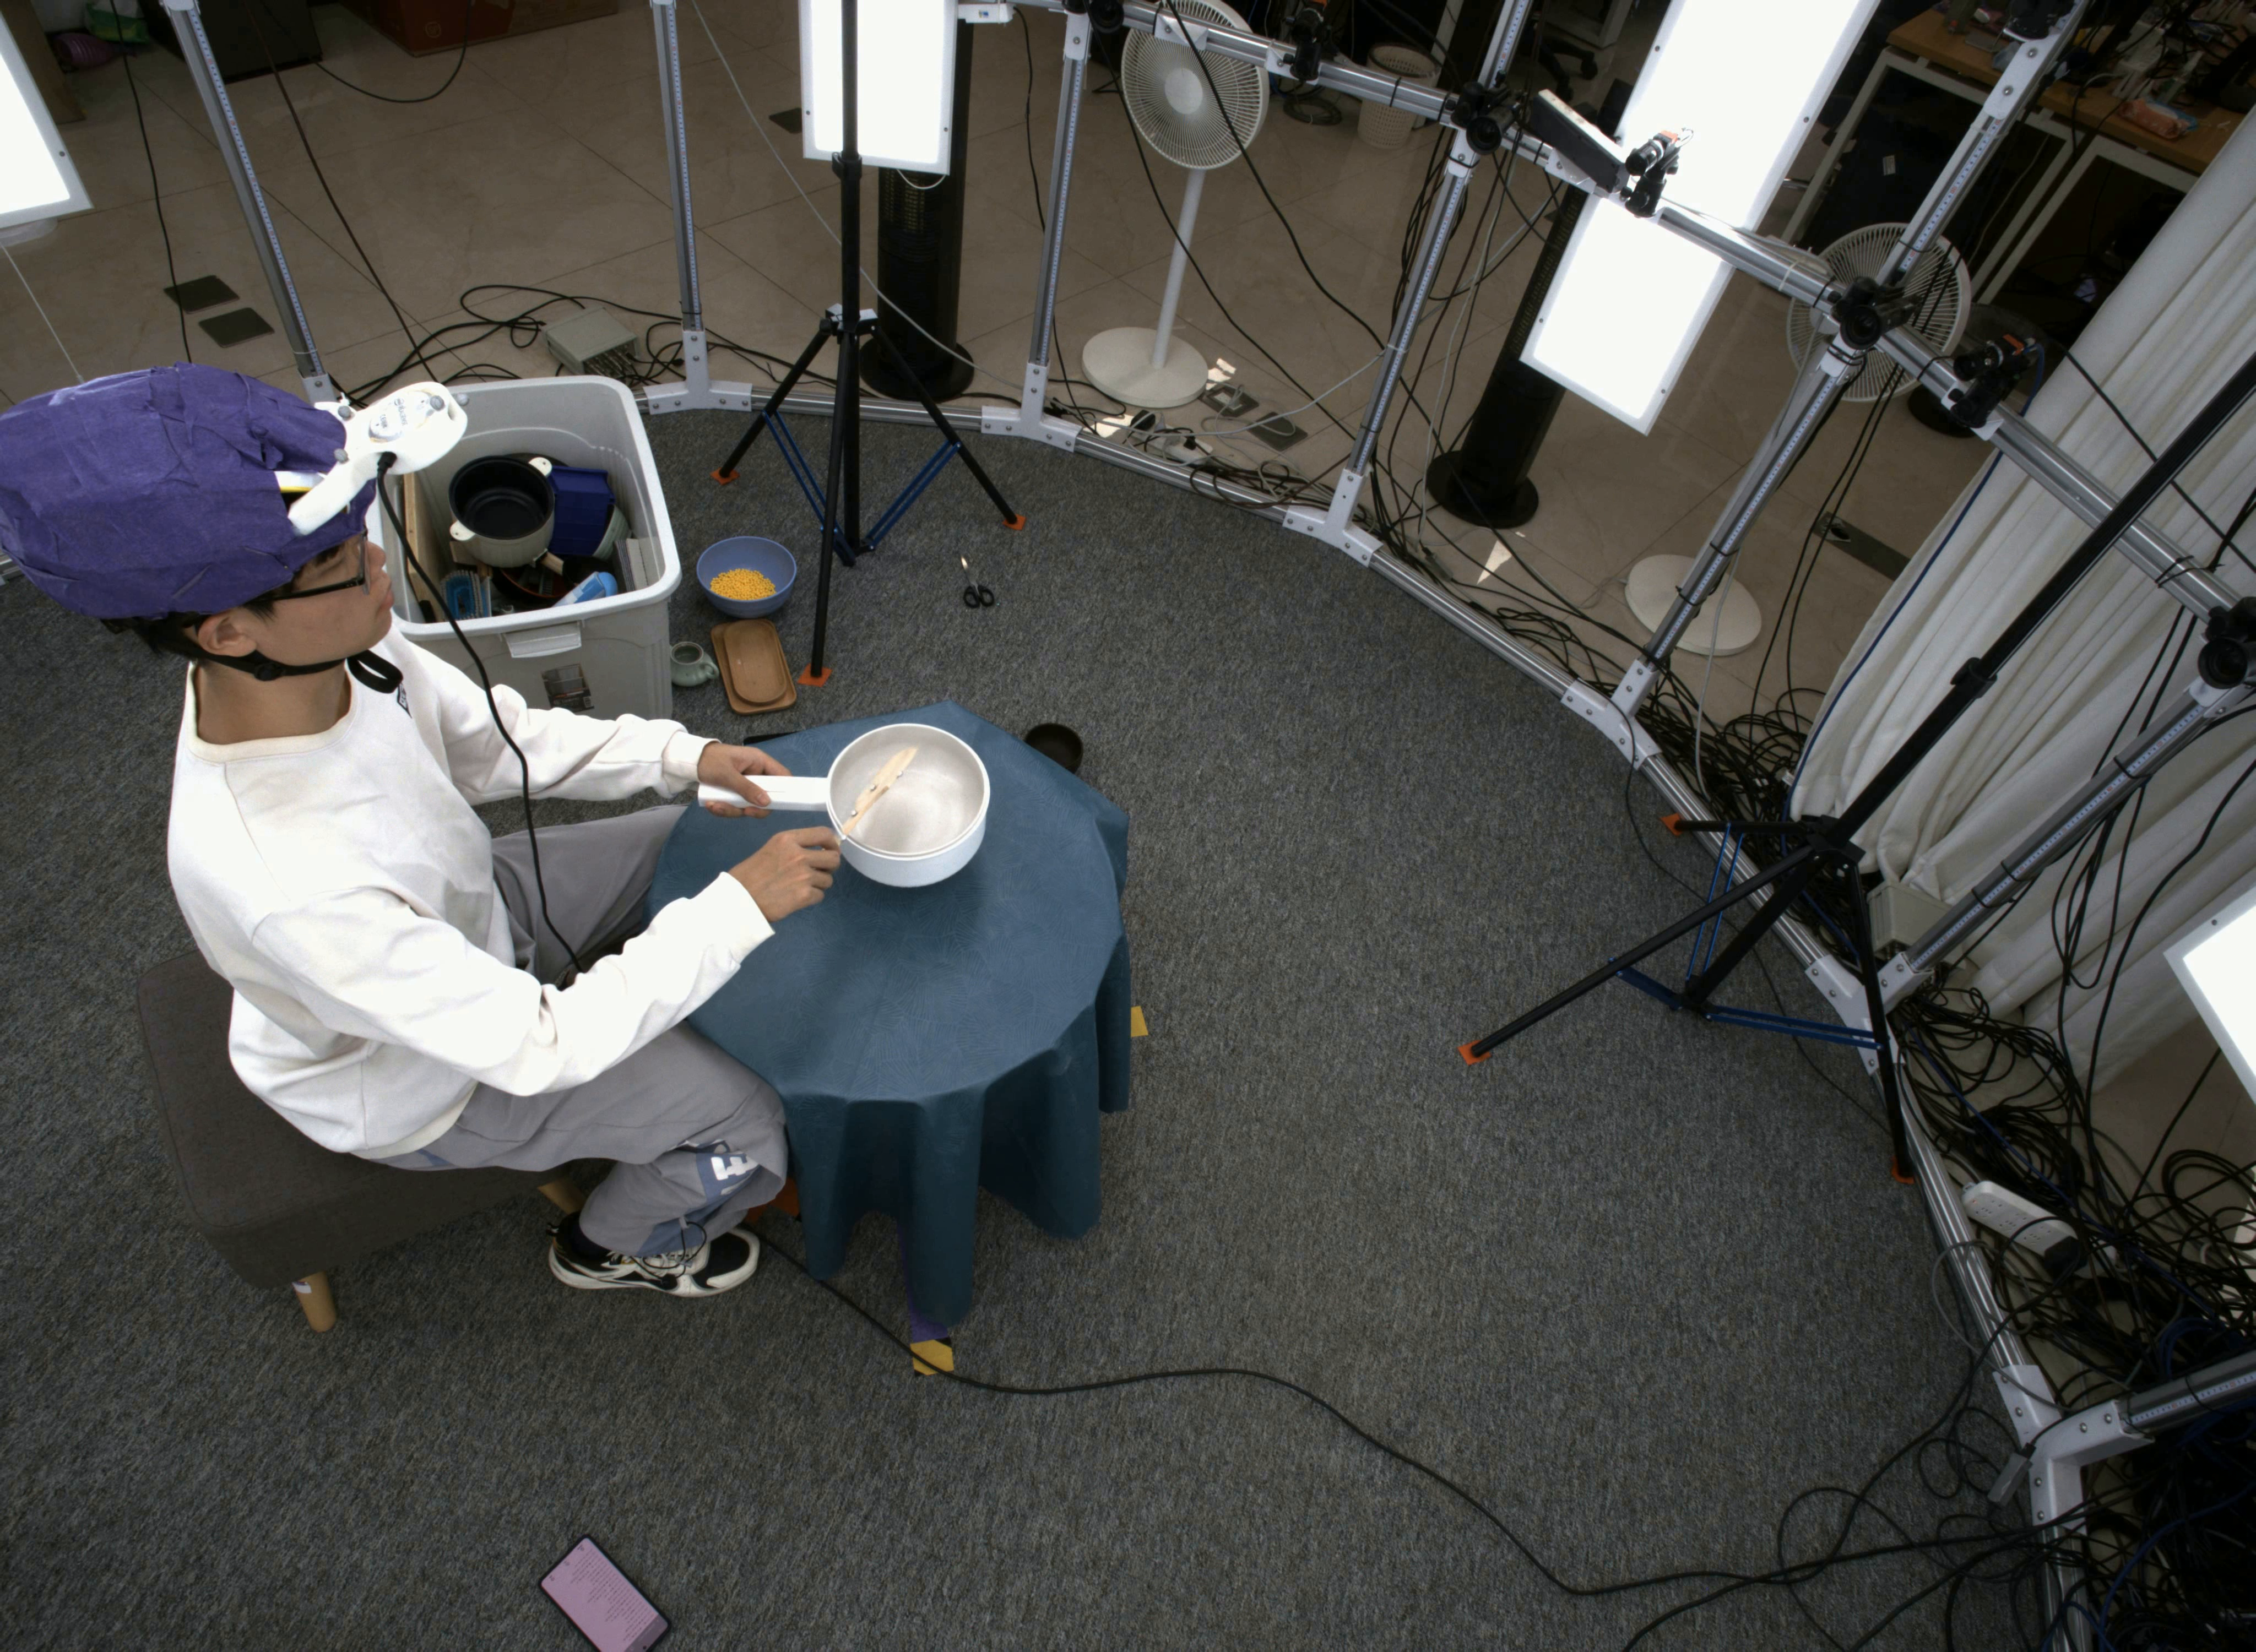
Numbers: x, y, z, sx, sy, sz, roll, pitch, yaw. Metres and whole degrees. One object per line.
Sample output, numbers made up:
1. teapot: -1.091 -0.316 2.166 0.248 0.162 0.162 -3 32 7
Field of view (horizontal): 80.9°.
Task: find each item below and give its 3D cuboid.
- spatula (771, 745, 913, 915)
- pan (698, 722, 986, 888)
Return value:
1. spatula: -0.335 0.002 1.520 0.011 0.071 0.290 50 42 -21
2. pan: -0.356 -0.024 1.643 0.353 0.104 0.198 1 60 -8
